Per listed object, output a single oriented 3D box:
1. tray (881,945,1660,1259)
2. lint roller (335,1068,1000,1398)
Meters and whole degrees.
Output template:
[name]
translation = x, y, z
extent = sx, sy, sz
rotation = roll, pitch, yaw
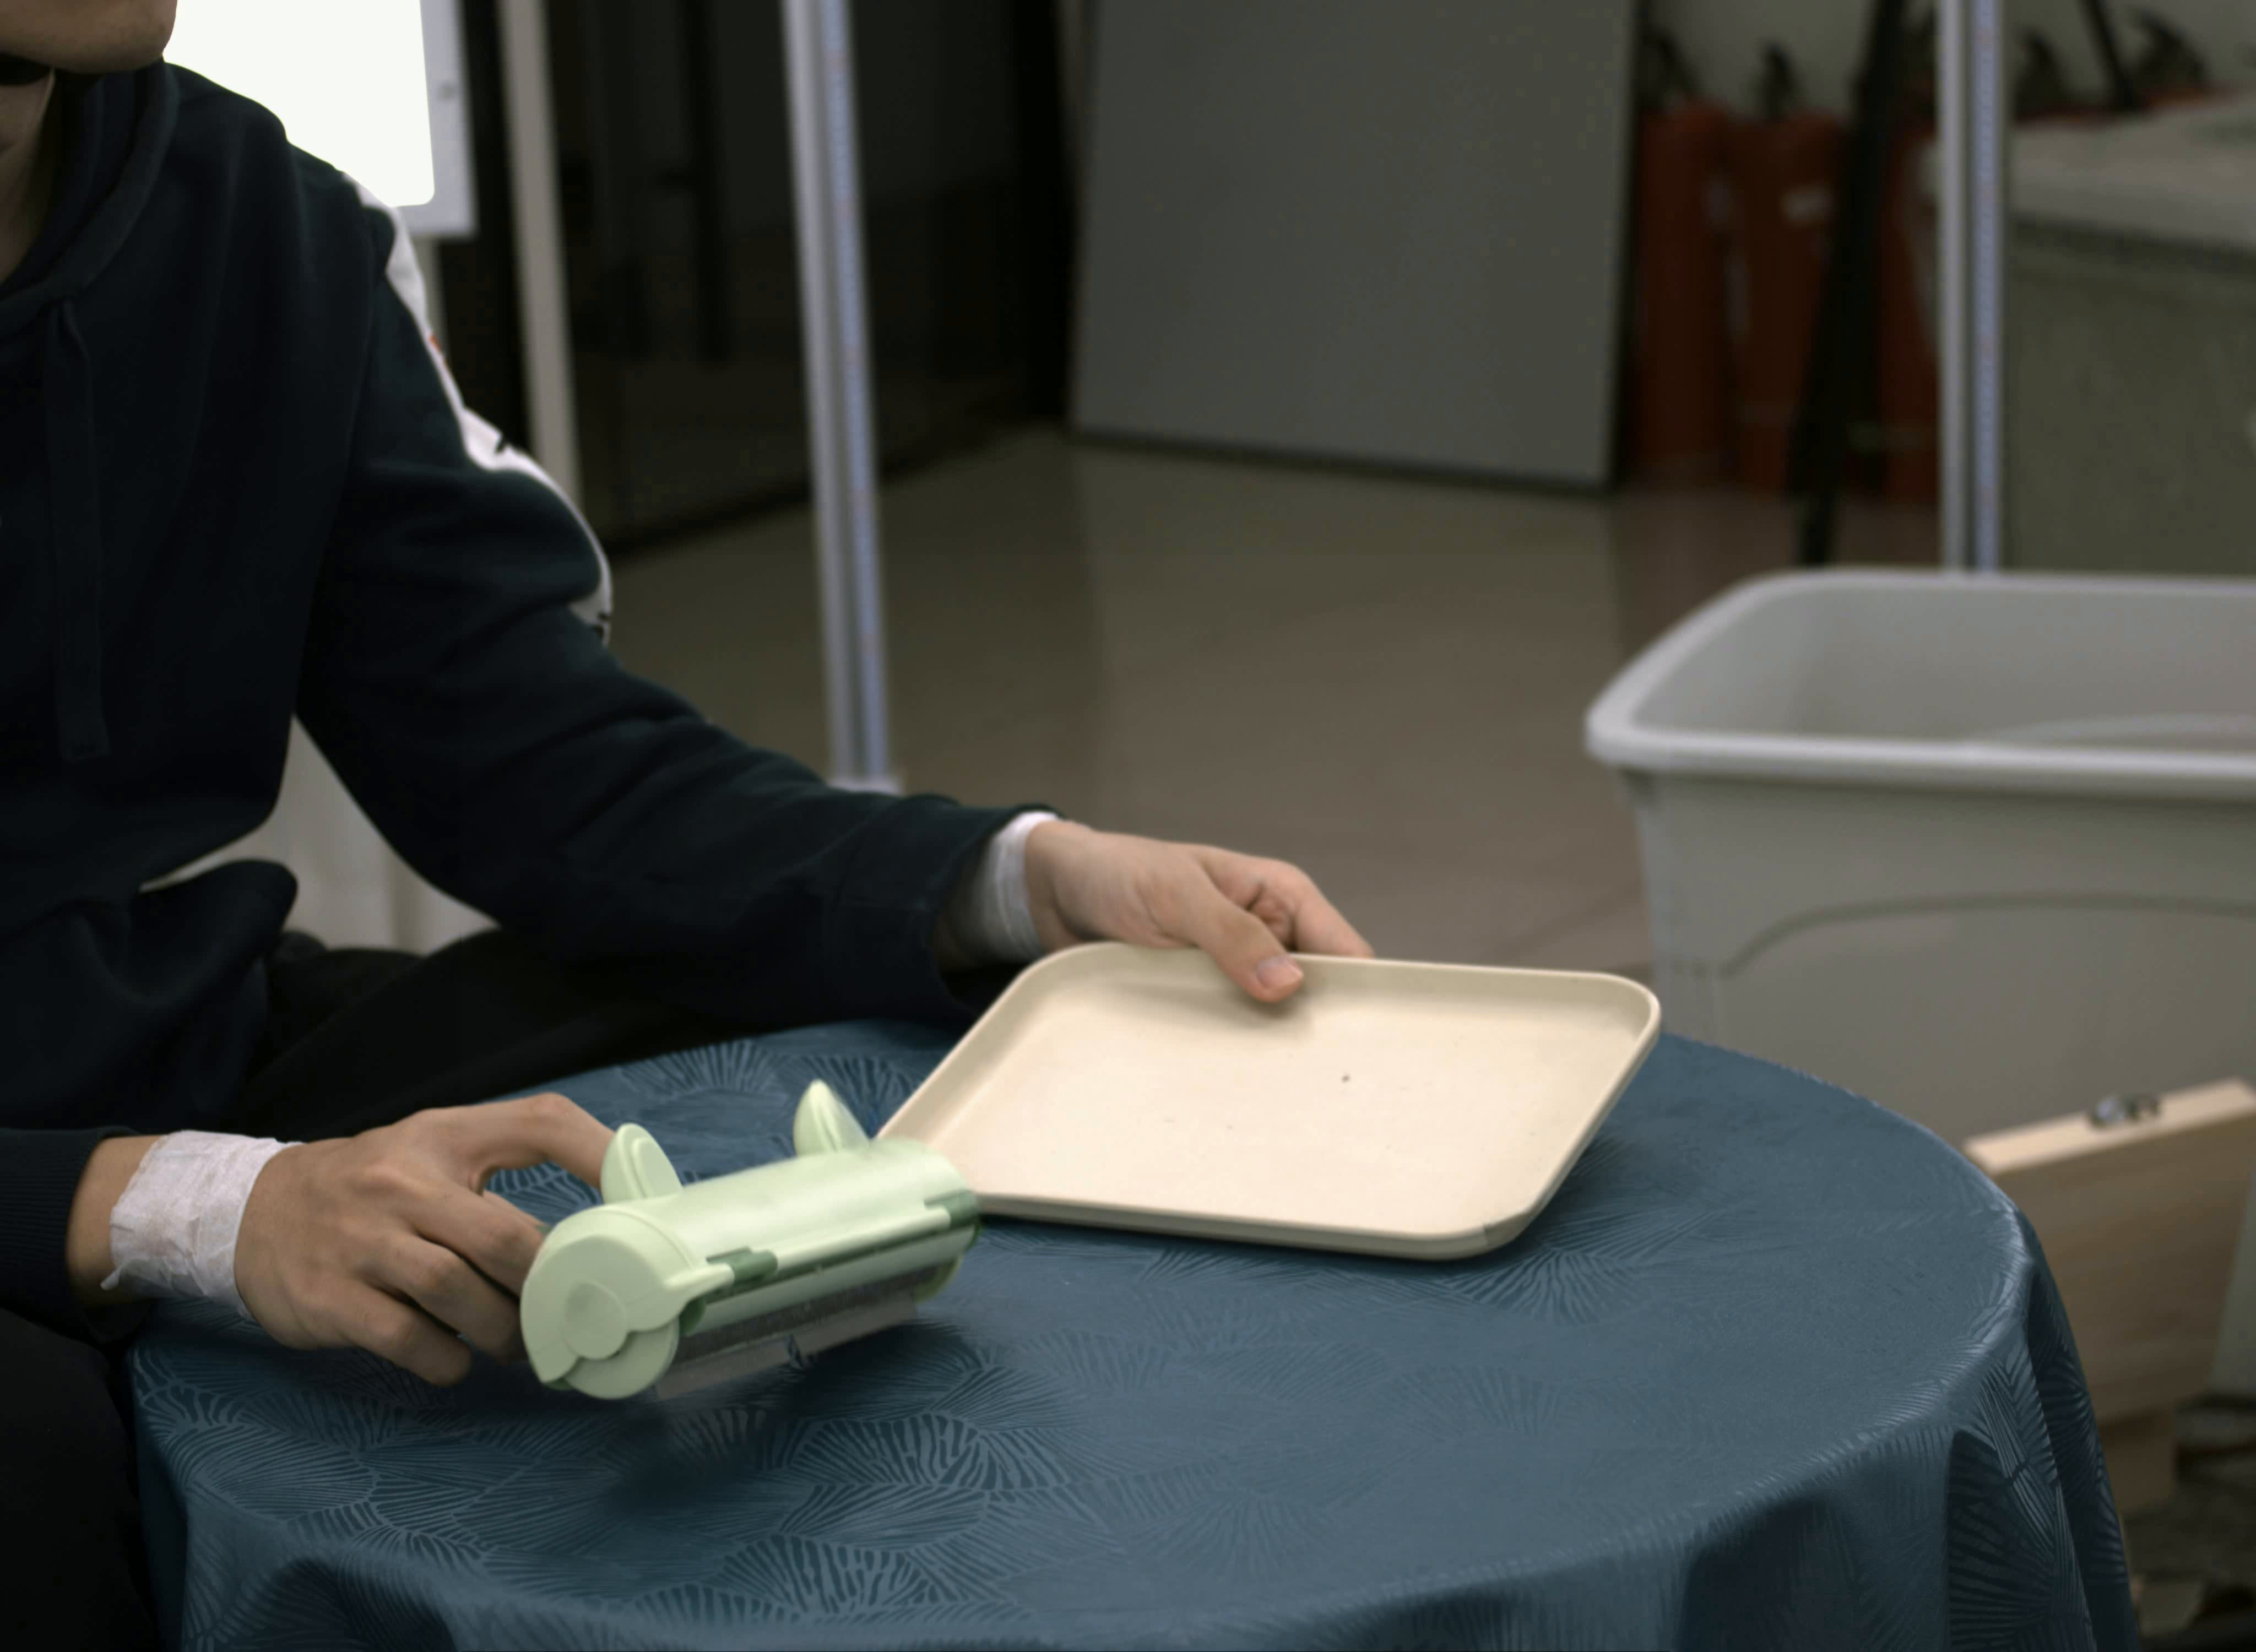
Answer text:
[tray]
translation = 0.047, 0.091, 1.778
extent = 0.240, 0.017, 0.170
rotation = 3, 28, 27
[lint roller]
translation = -0.158, 0.117, 1.606
extent = 0.183, 0.083, 0.195
rotation = 3, 5, 26
